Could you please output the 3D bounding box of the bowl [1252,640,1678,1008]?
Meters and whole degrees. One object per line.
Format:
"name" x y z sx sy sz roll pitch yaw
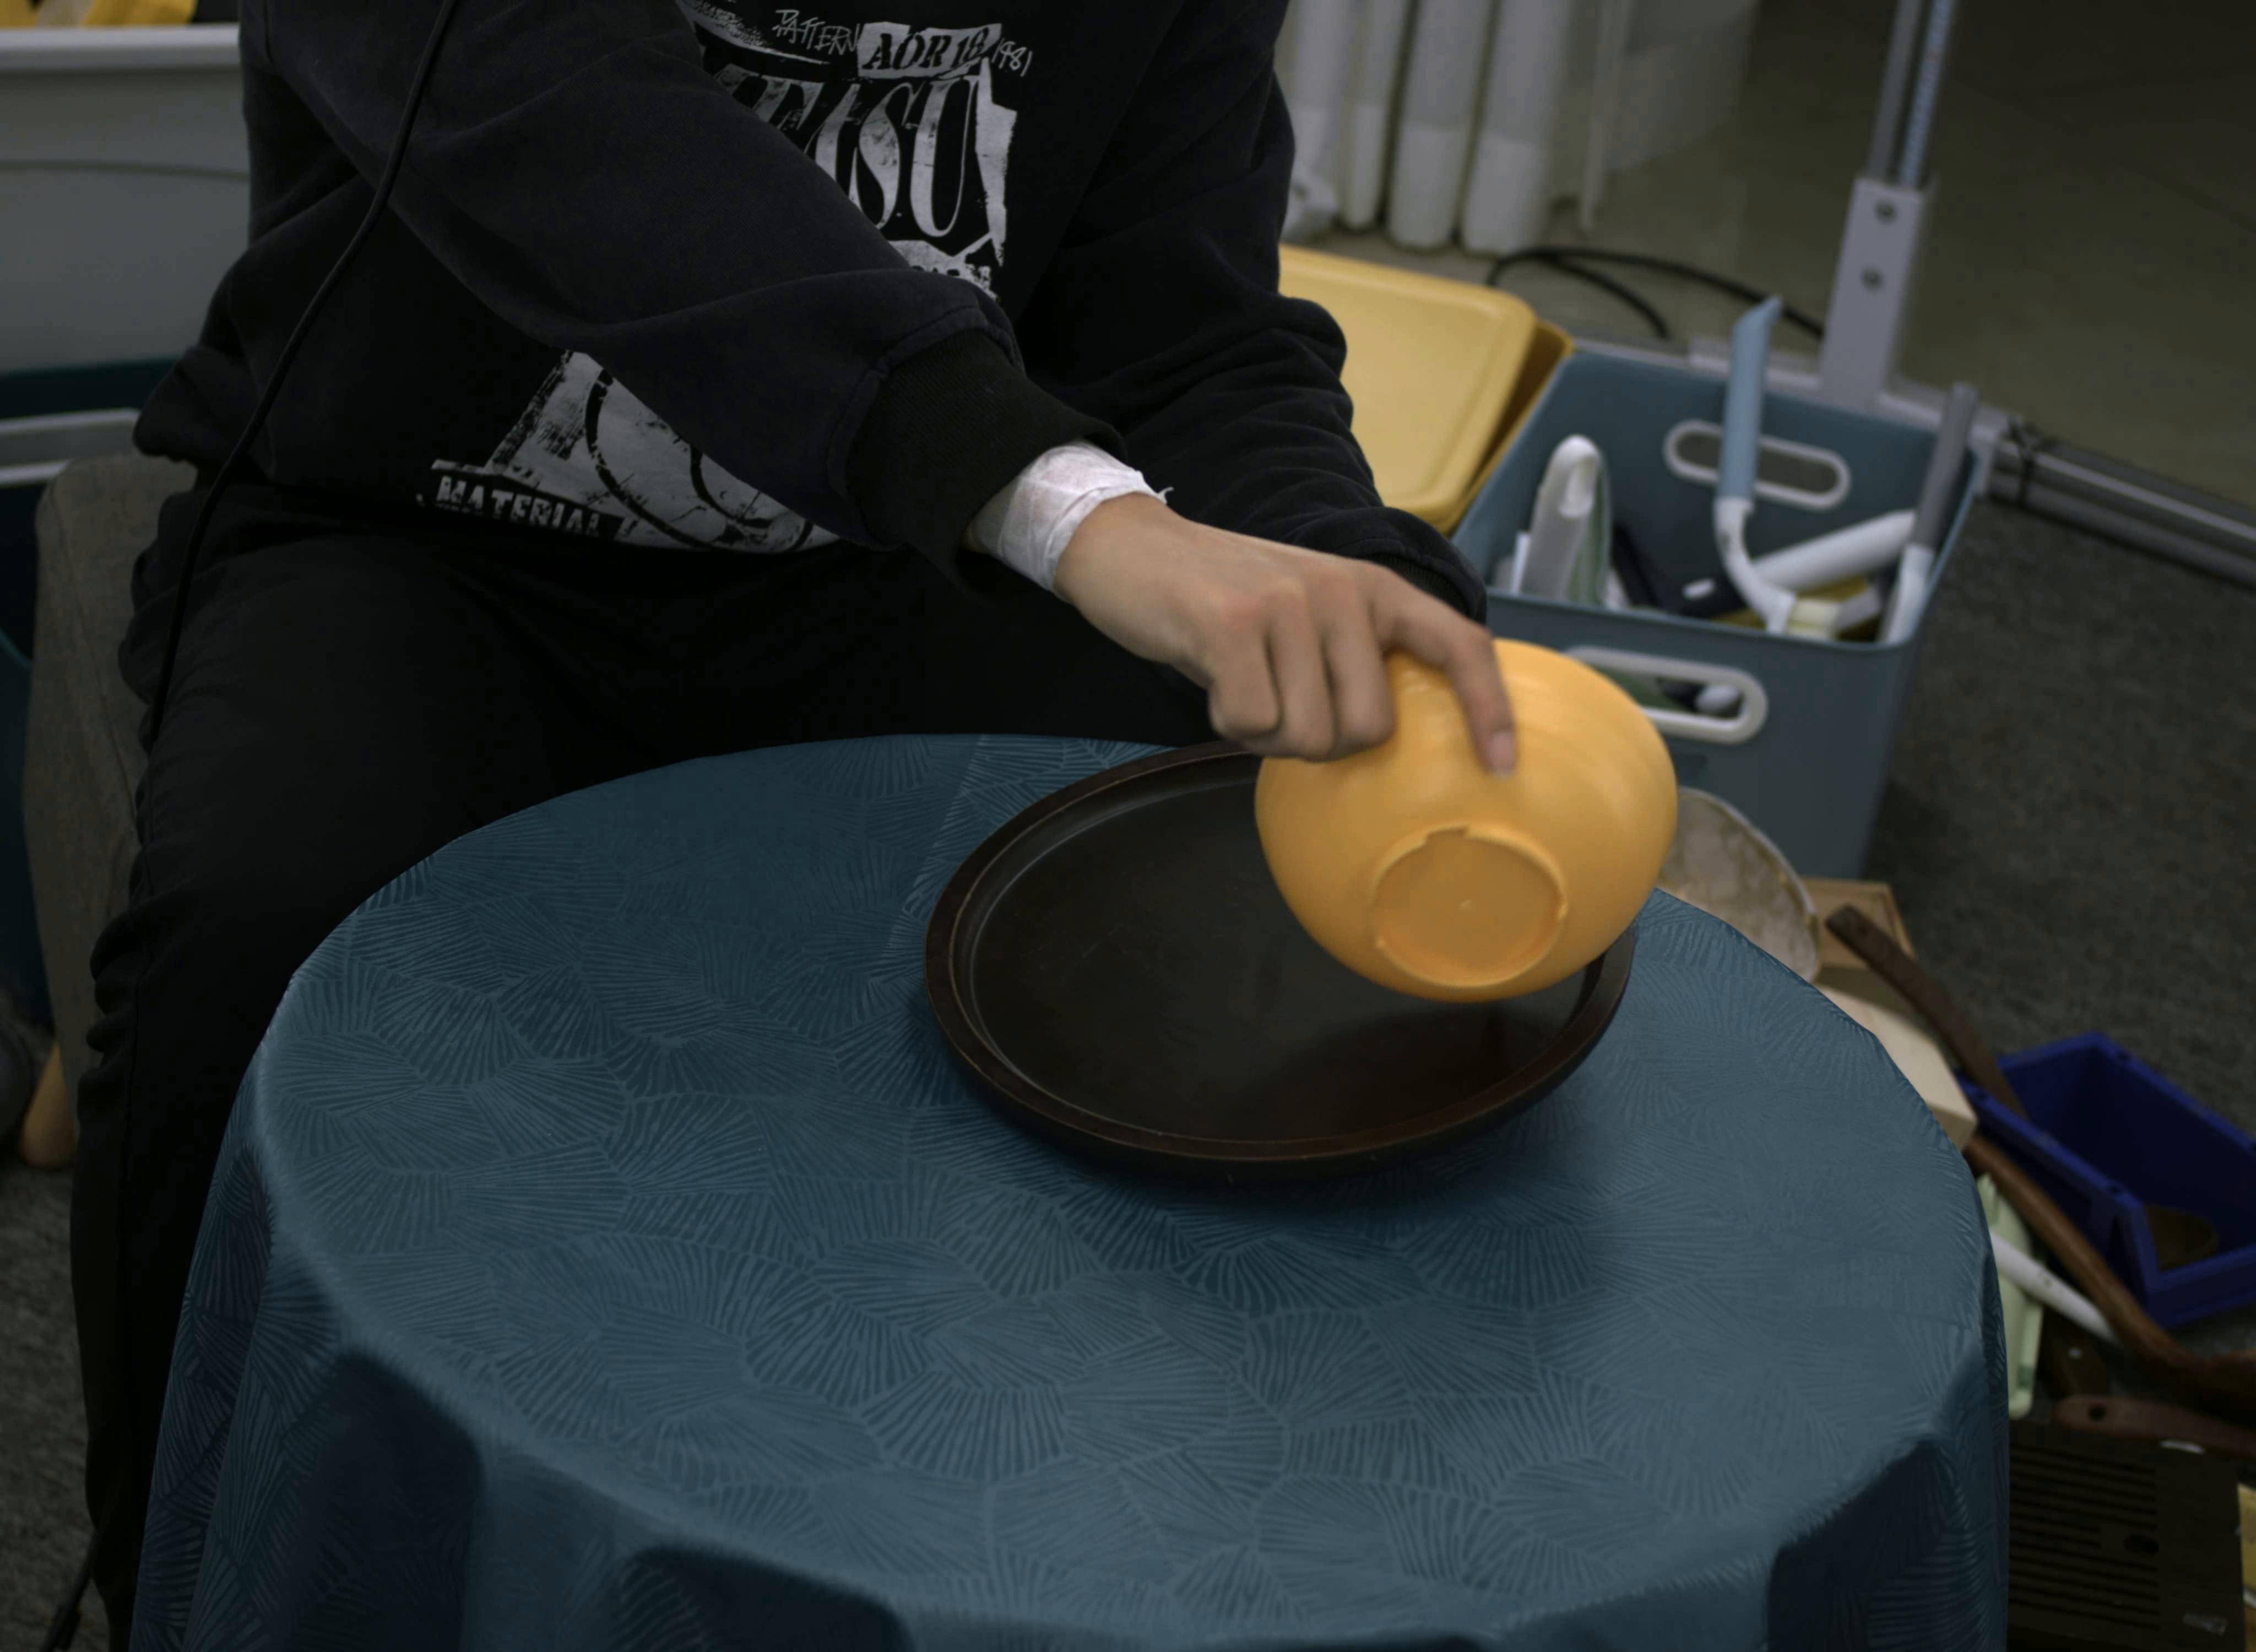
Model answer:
"bowl" 0.114 0.013 1.786 0.145 0.144 0.060 6 37 -2

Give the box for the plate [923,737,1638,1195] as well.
"plate" 0.054 0.048 1.885 0.254 0.029 0.256 -5 35 3
